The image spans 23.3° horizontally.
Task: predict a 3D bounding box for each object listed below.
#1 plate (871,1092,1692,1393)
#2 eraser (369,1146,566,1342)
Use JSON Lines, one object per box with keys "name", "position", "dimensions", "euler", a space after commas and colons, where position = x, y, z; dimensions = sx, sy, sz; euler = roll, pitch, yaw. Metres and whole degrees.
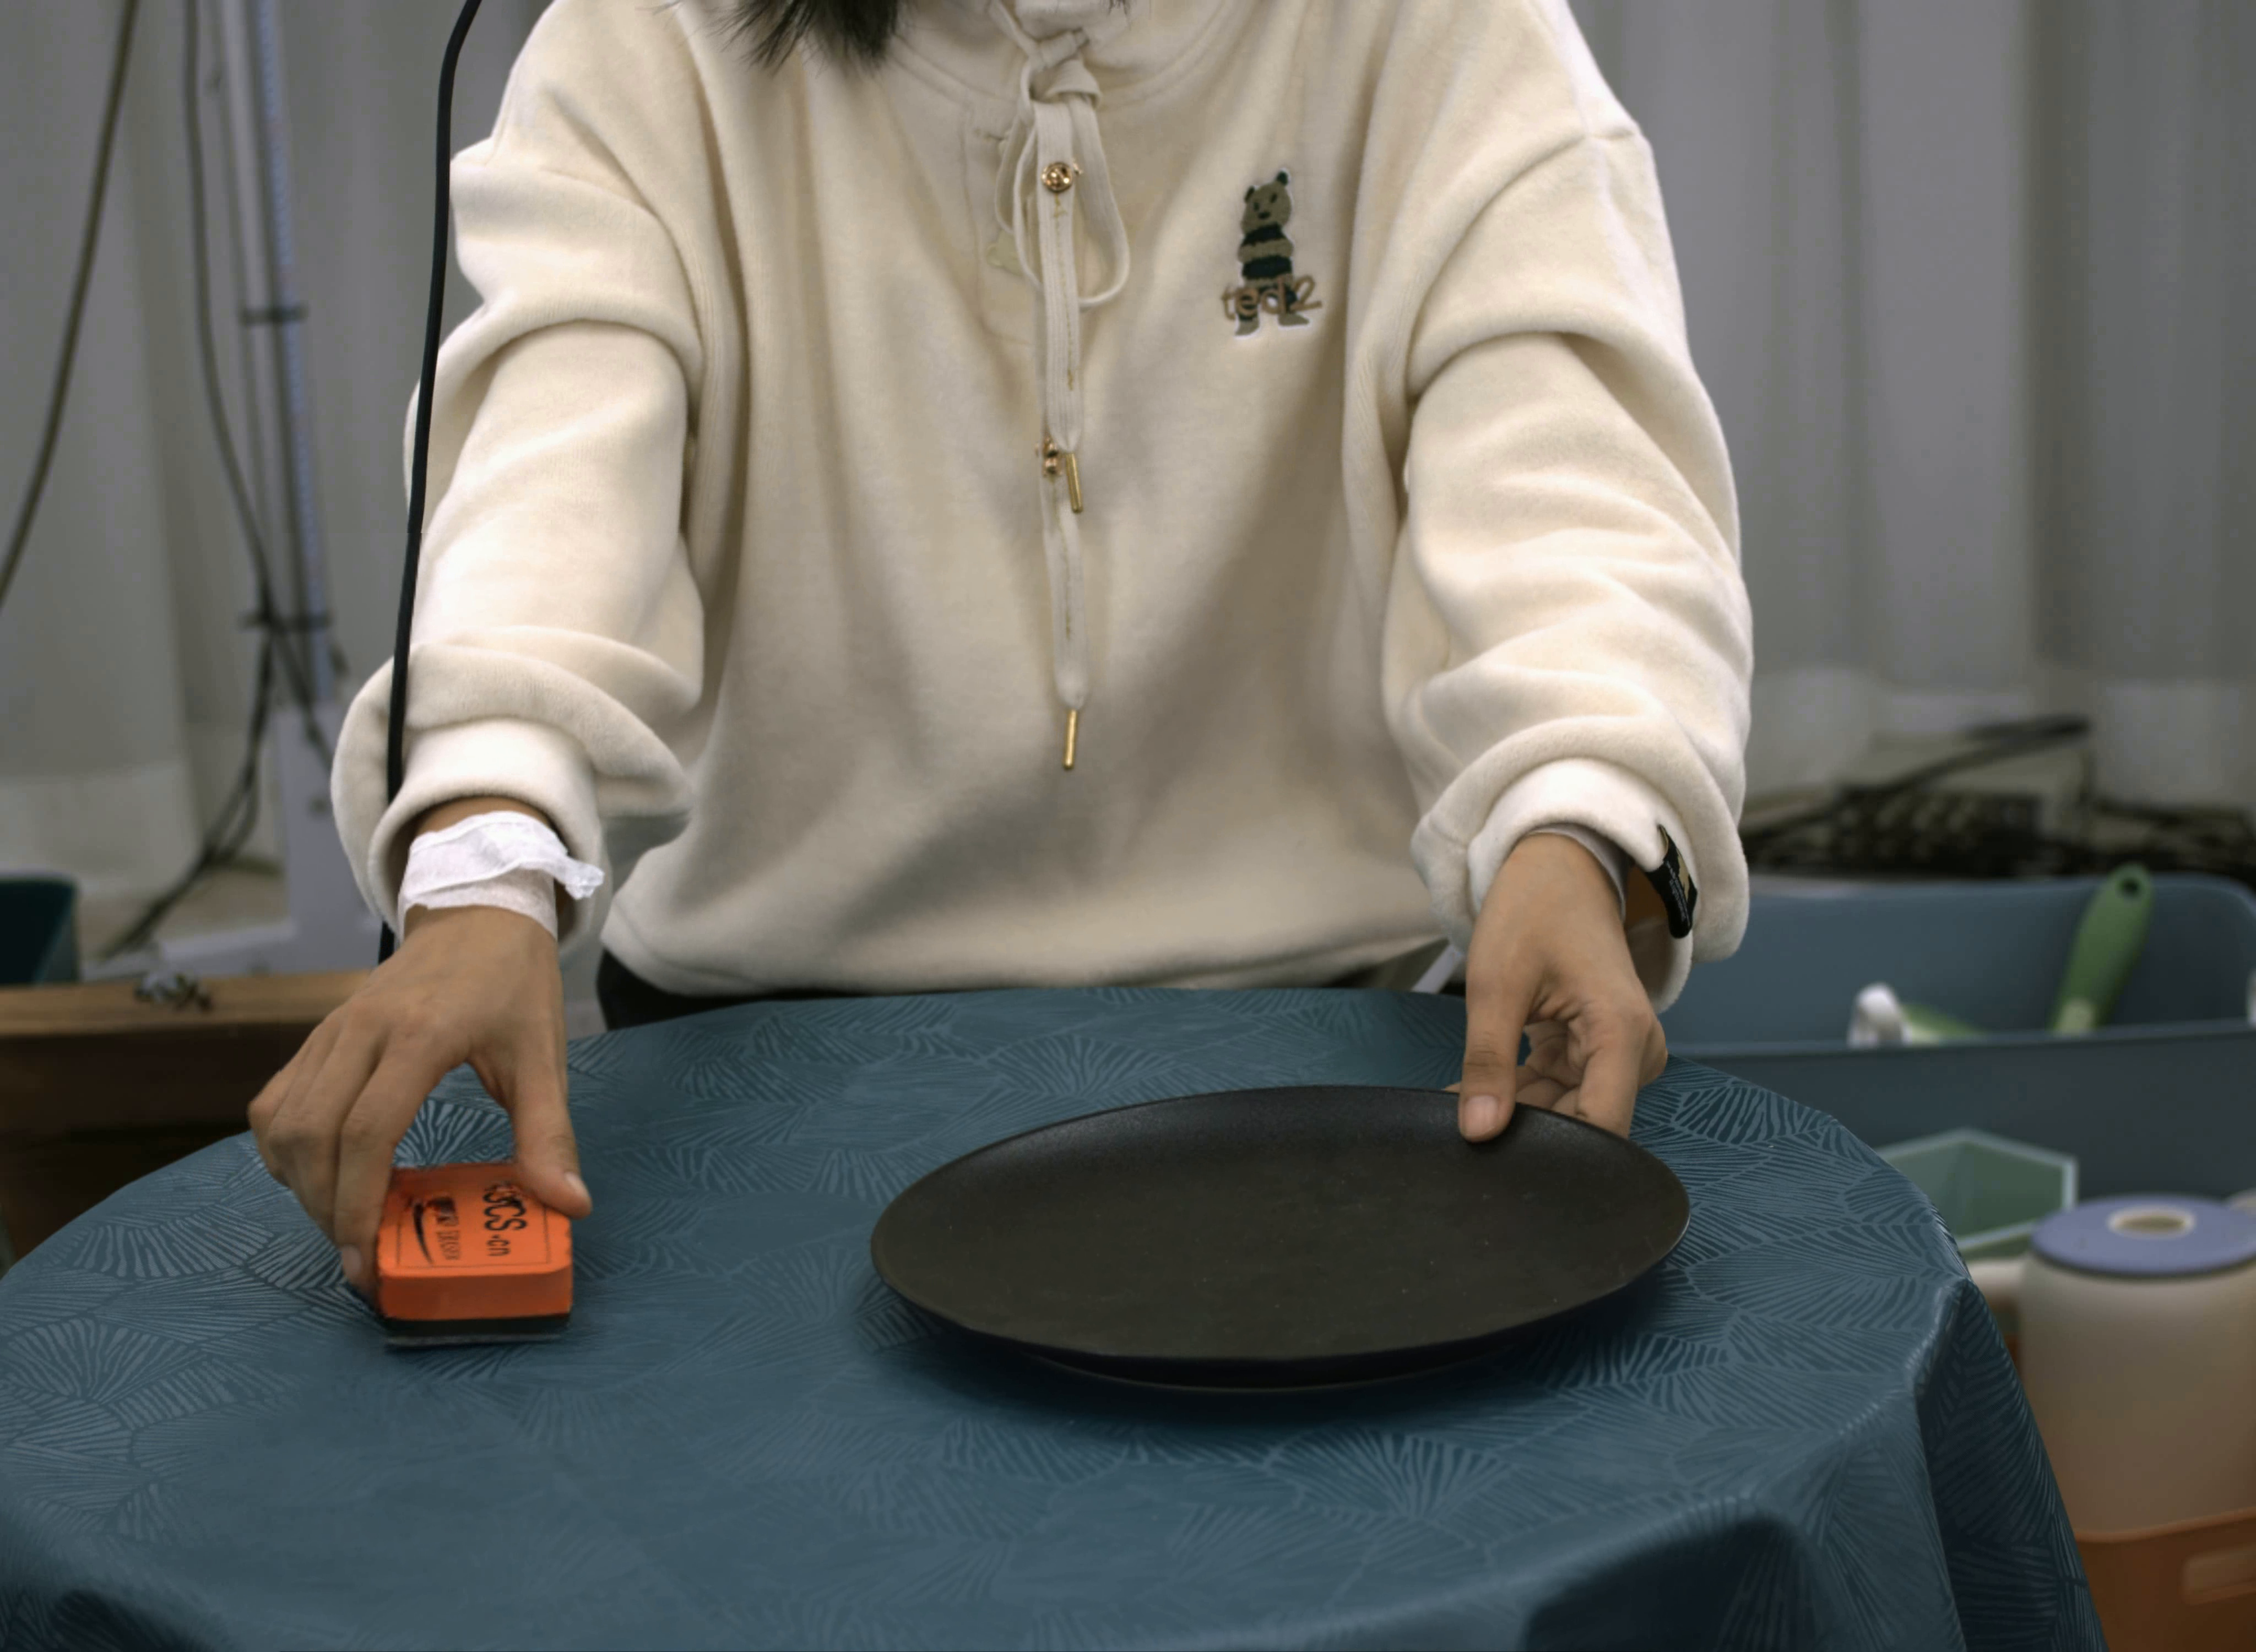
{"name": "plate", "position": [0.046, 0.125, 1.621], "dimensions": [0.243, 0.023, 0.246], "euler": [-3, 15, 0]}
{"name": "eraser", "position": [-0.199, 0.126, 1.652], "dimensions": [0.059, 0.023, 0.109], "euler": [-2, 17, -6]}
